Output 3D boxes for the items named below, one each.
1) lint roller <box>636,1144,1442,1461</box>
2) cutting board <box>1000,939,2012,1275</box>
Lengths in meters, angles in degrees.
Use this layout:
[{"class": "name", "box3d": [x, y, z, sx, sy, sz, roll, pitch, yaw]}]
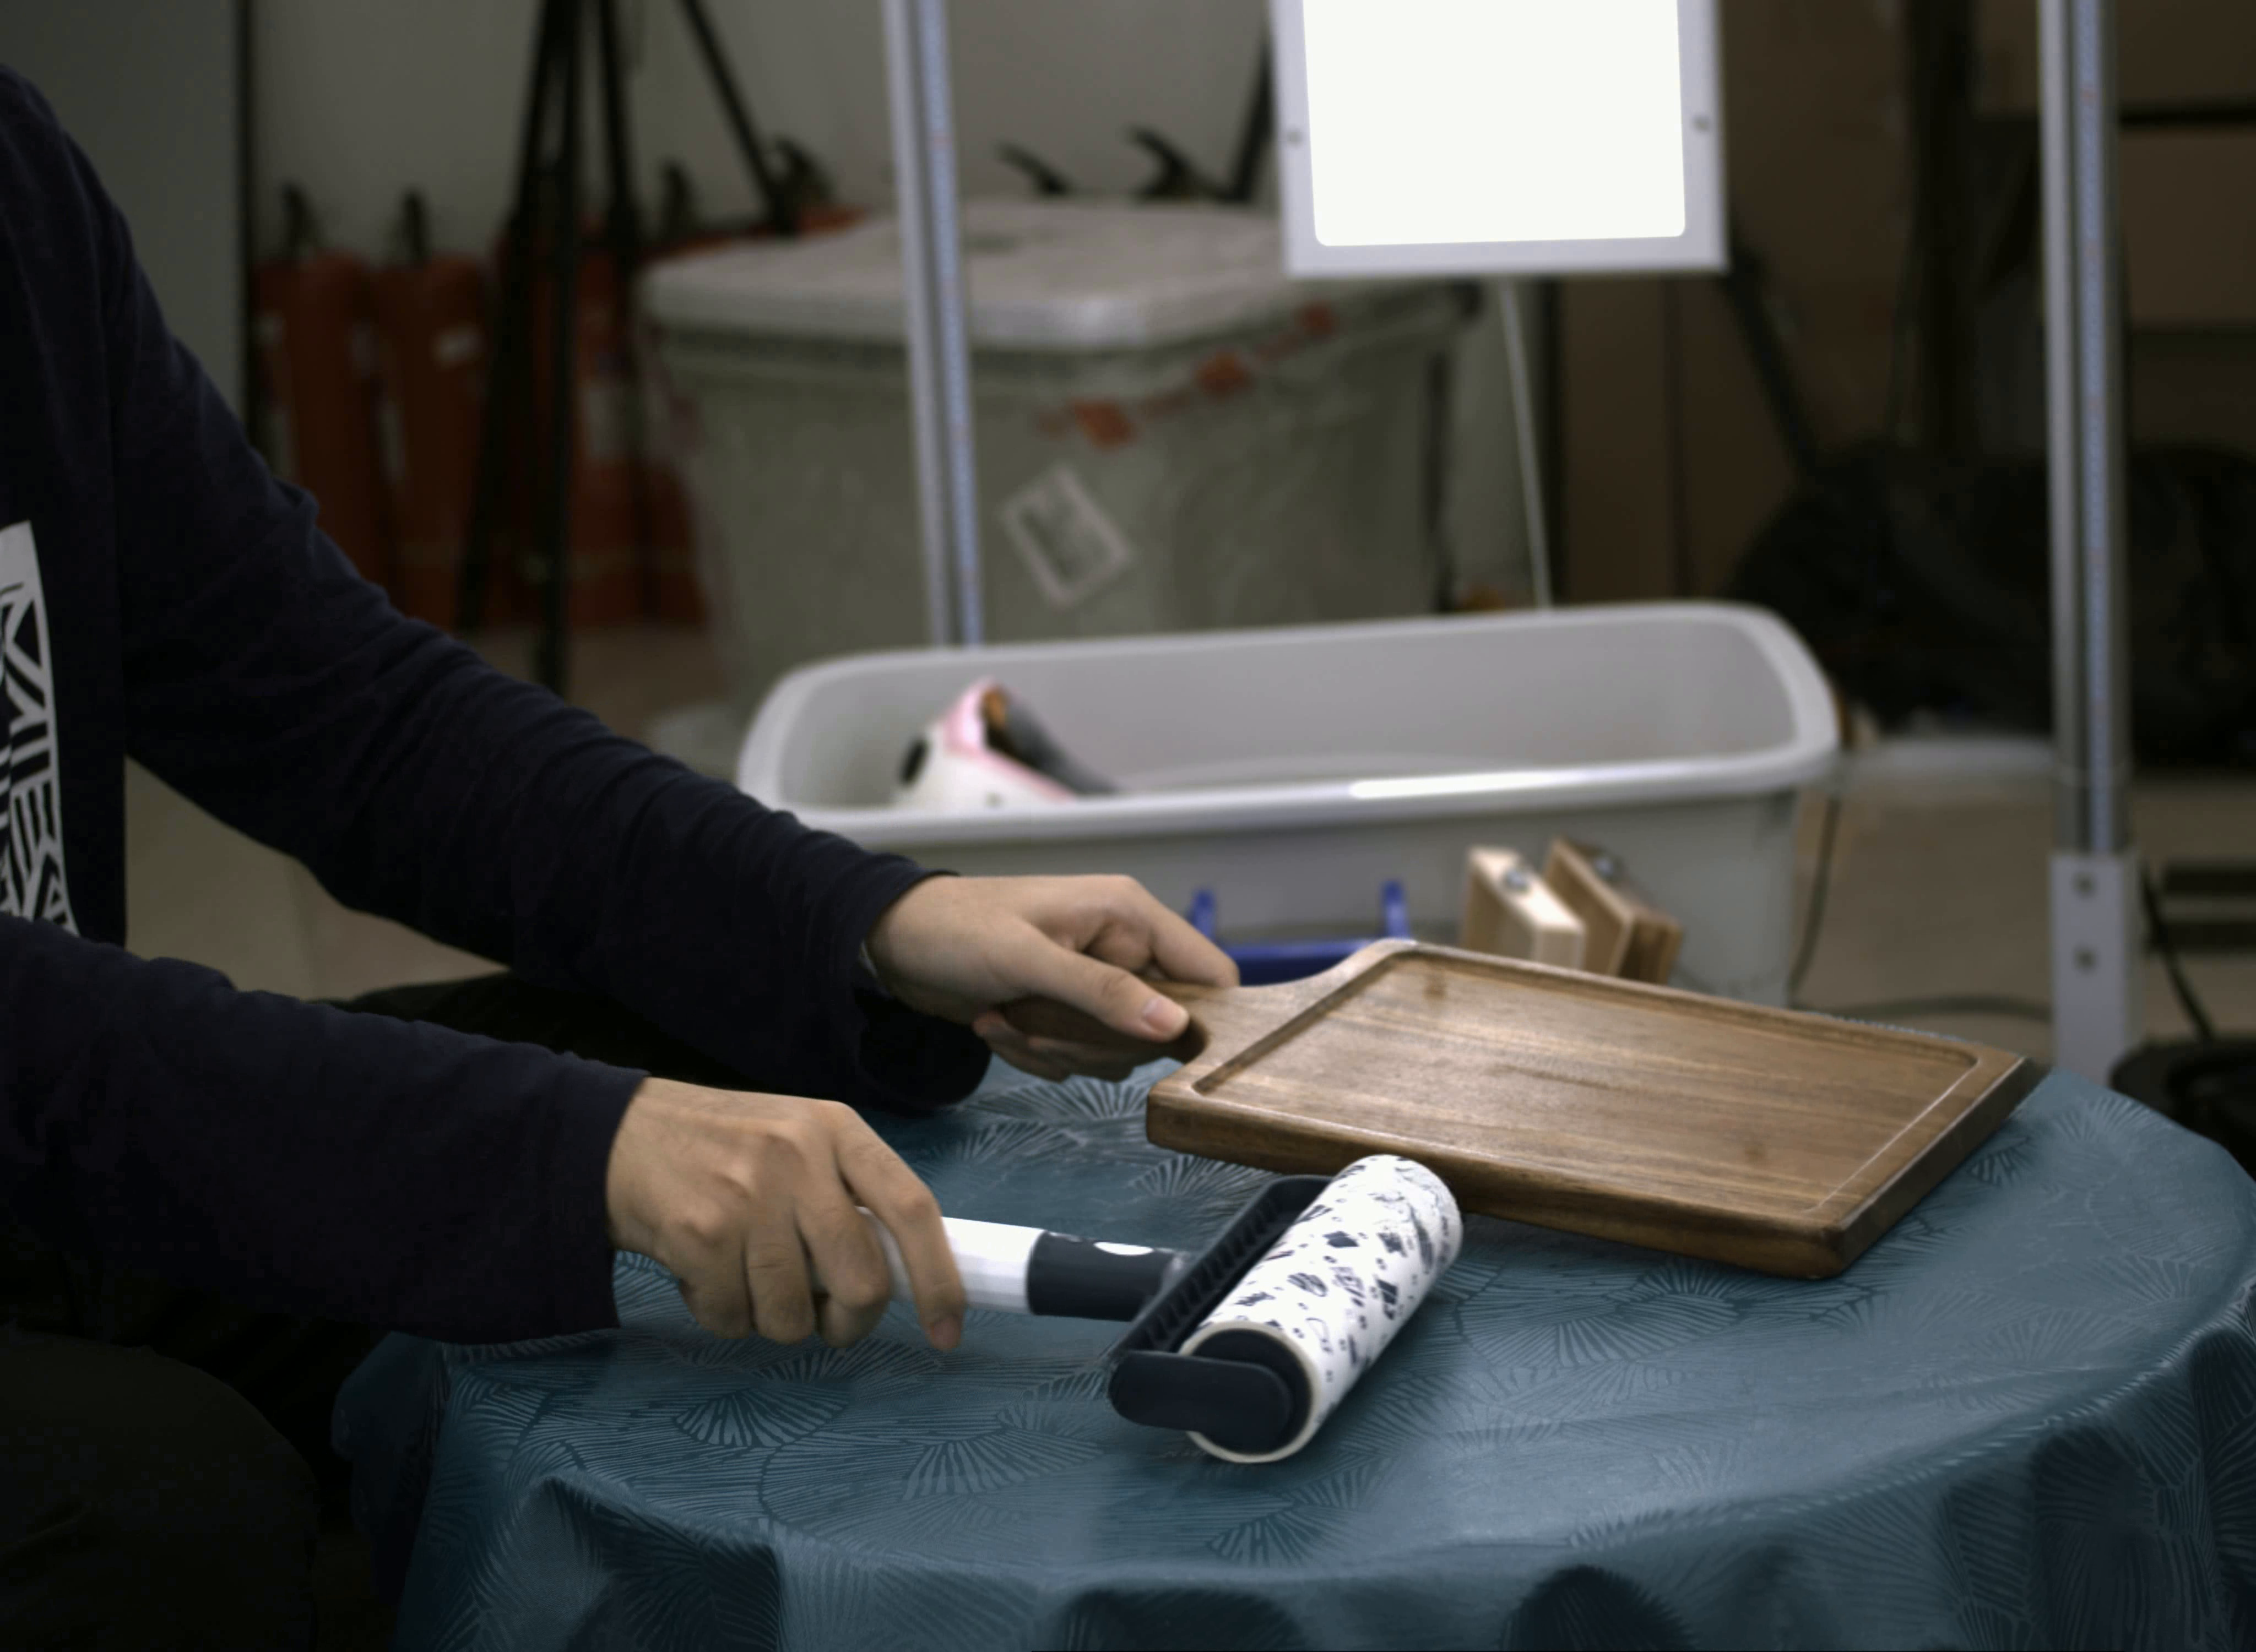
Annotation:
[{"class": "lint roller", "box3d": [-0.040, 0.139, 1.731, 0.250, 0.050, 0.173, 4, 17, 19]}, {"class": "cutting board", "box3d": [0.114, 0.084, 1.901, 0.358, 0.023, 0.196, 9, 20, 27]}]
